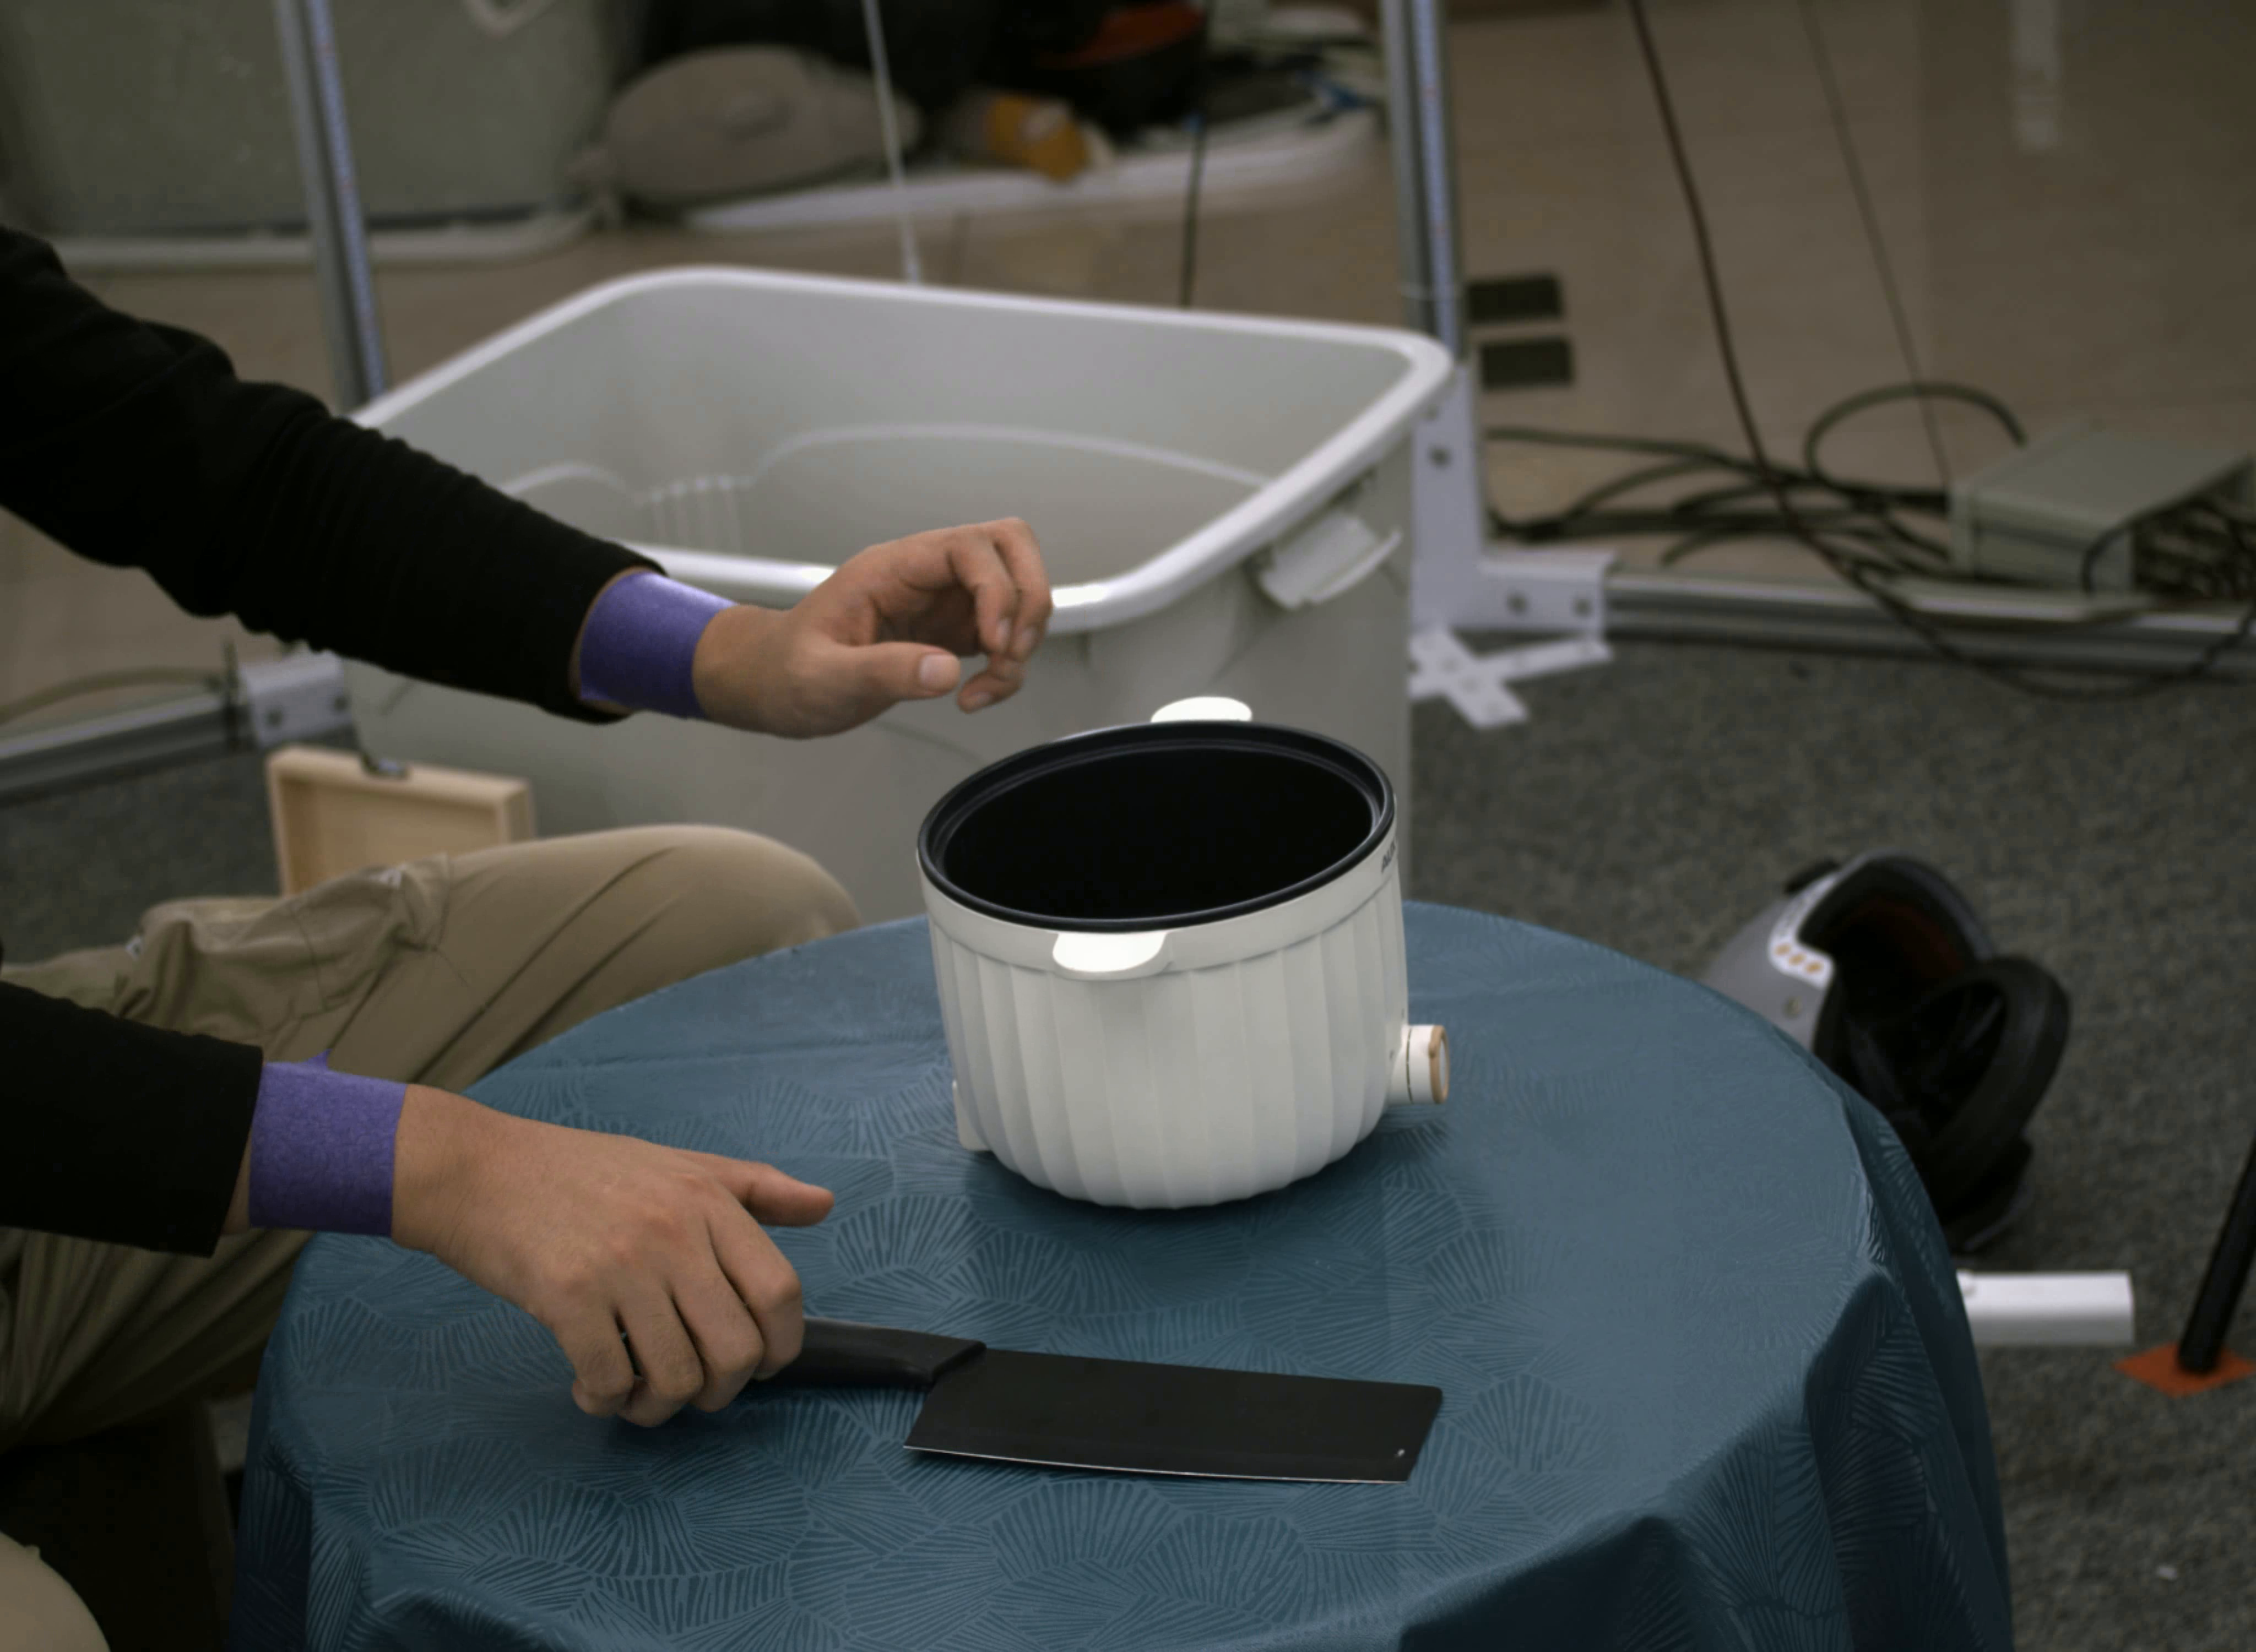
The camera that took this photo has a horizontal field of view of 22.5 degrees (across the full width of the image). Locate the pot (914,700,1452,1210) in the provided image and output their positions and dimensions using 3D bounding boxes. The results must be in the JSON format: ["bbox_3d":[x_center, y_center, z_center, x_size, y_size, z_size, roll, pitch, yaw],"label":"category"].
[{"bbox_3d":[0.023,0.056,2.156,0.190,0.145,0.237,-4,26,13],"label":"pot"}]

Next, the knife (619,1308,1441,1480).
[{"bbox_3d":[-0.039,0.201,2.010,0.301,0.021,0.080,6,28,20],"label":"knife"}]
